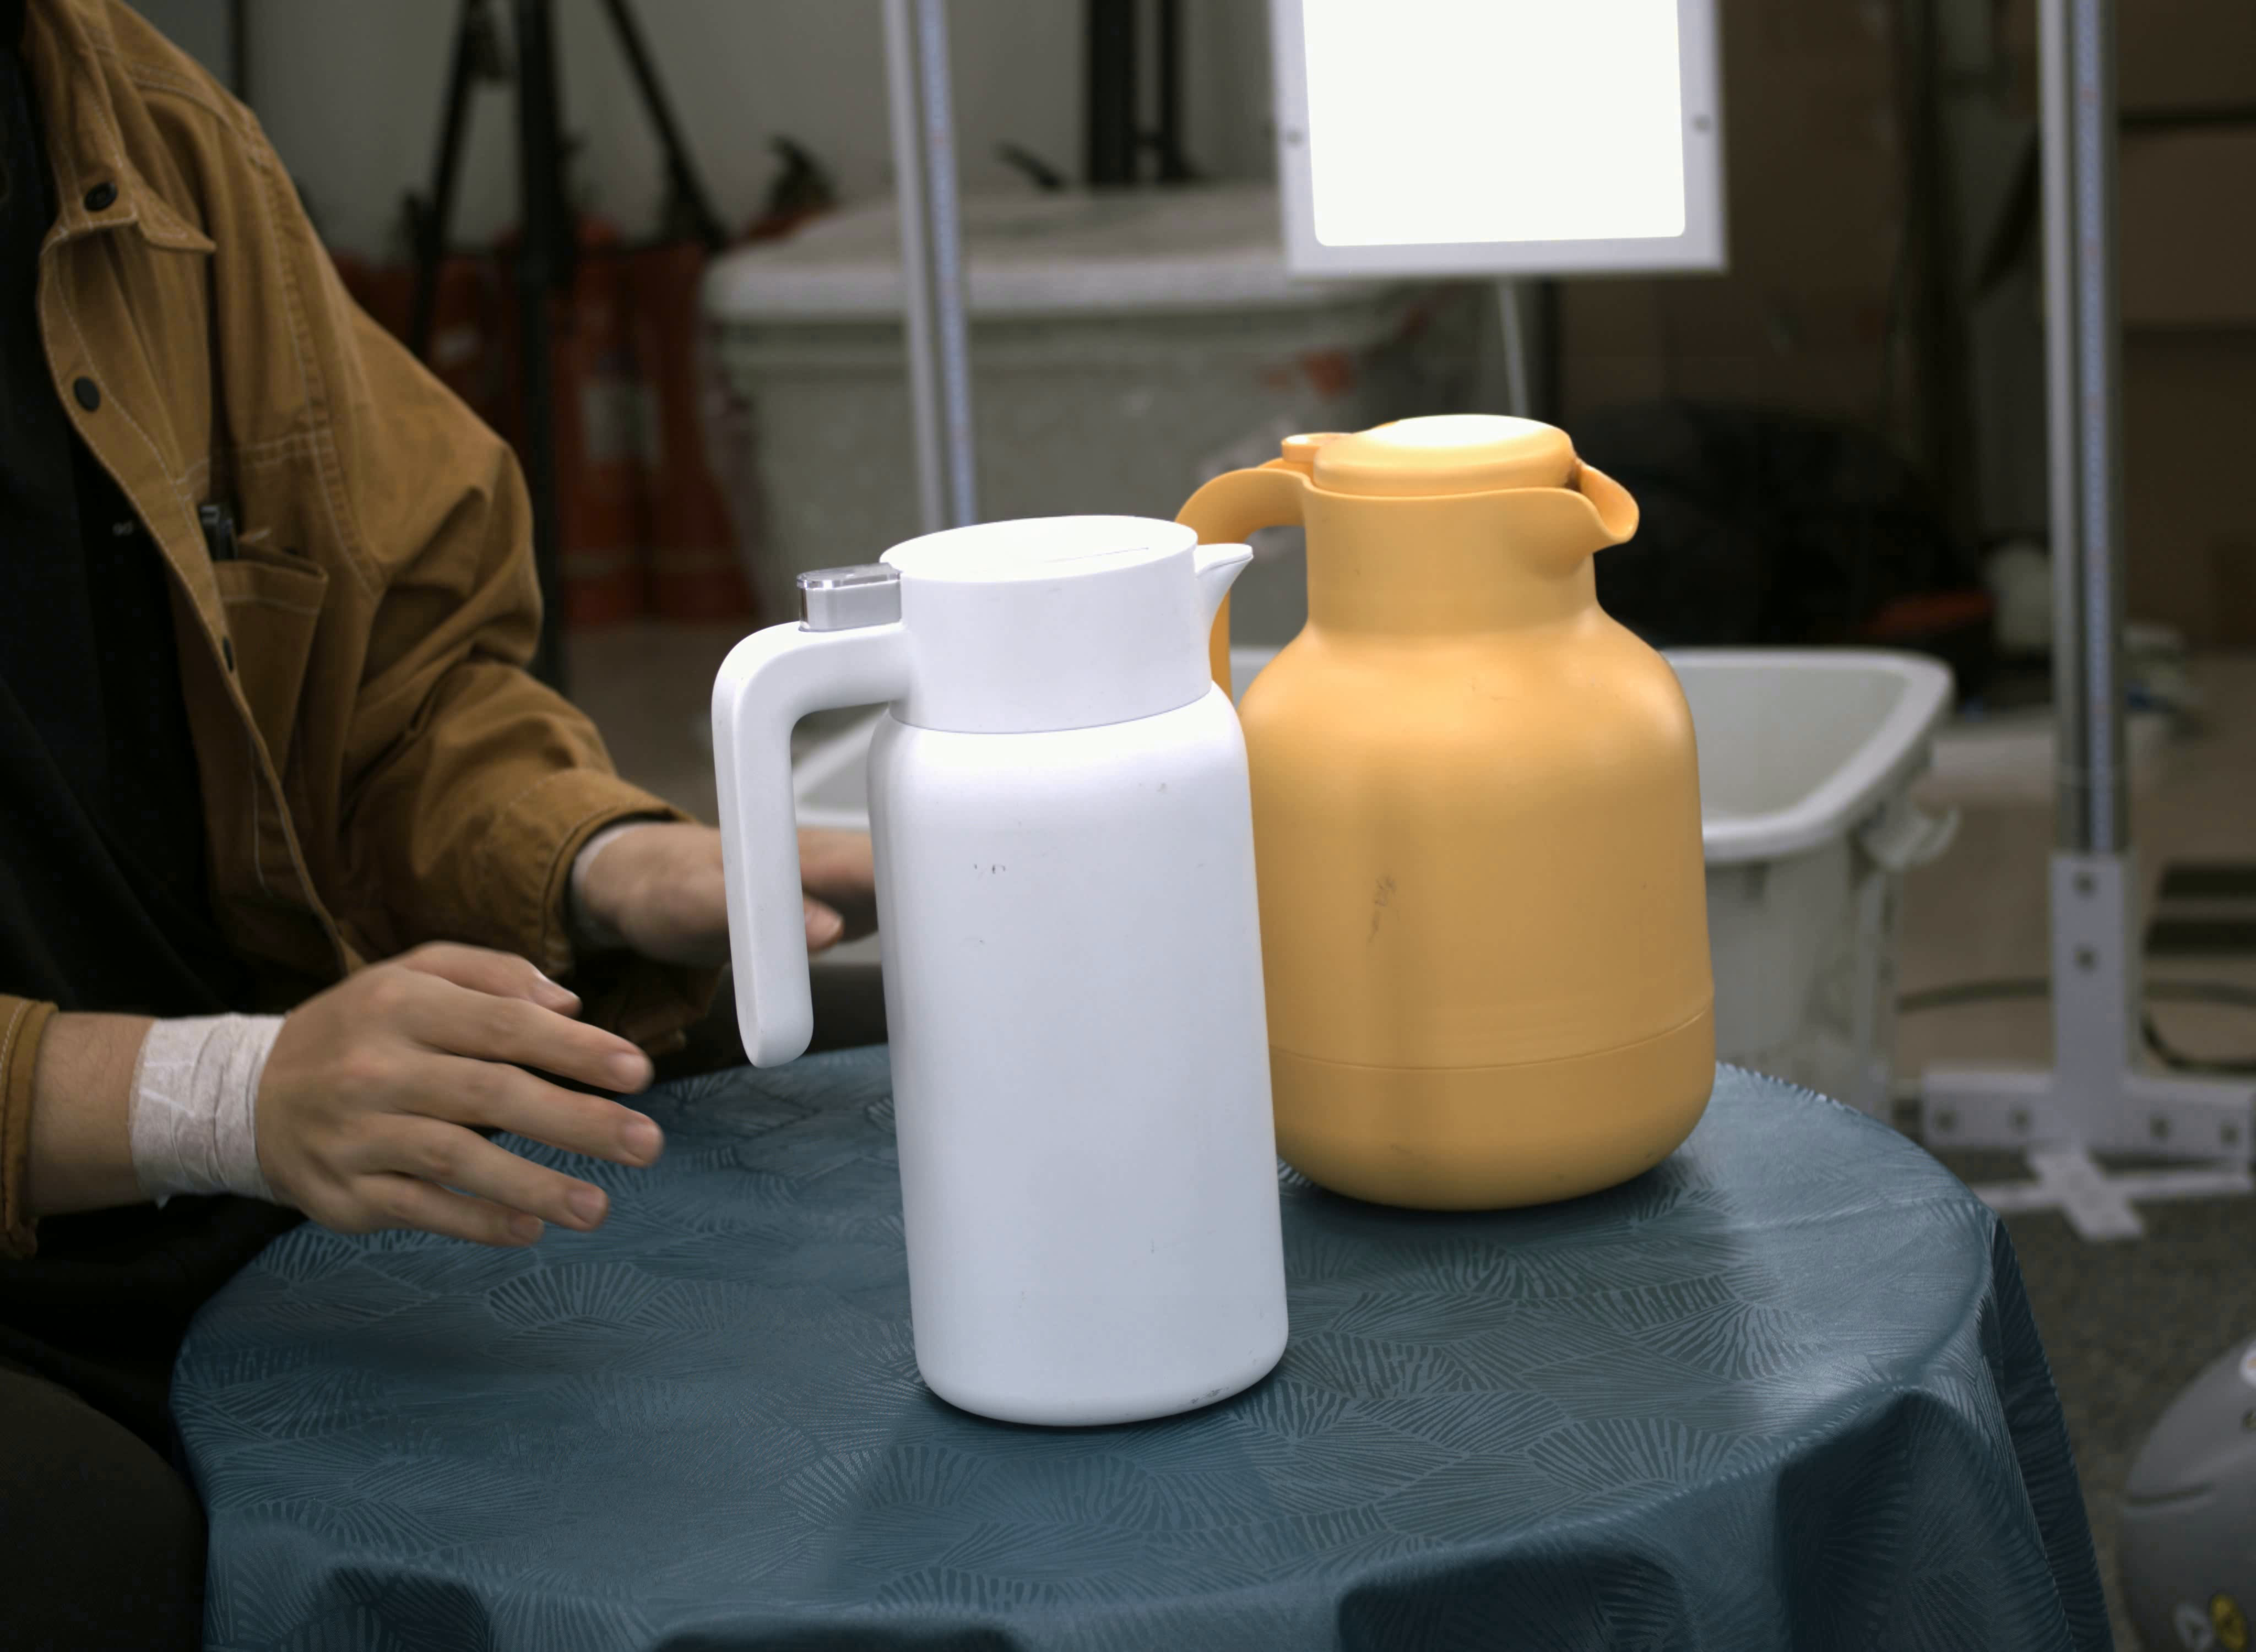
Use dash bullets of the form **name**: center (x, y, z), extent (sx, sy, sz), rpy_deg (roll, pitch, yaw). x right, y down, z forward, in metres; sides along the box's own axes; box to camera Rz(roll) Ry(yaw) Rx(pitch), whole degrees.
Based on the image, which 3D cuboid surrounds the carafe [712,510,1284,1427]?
- **carafe**: center (-0.034, 0.045, 1.682), extent (0.170, 0.270, 0.125), rpy_deg (-9, 16, -16)

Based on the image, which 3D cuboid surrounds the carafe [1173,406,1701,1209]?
- **carafe**: center (0.099, -0.013, 1.876), extent (0.207, 0.261, 0.159), rpy_deg (11, 18, 43)
